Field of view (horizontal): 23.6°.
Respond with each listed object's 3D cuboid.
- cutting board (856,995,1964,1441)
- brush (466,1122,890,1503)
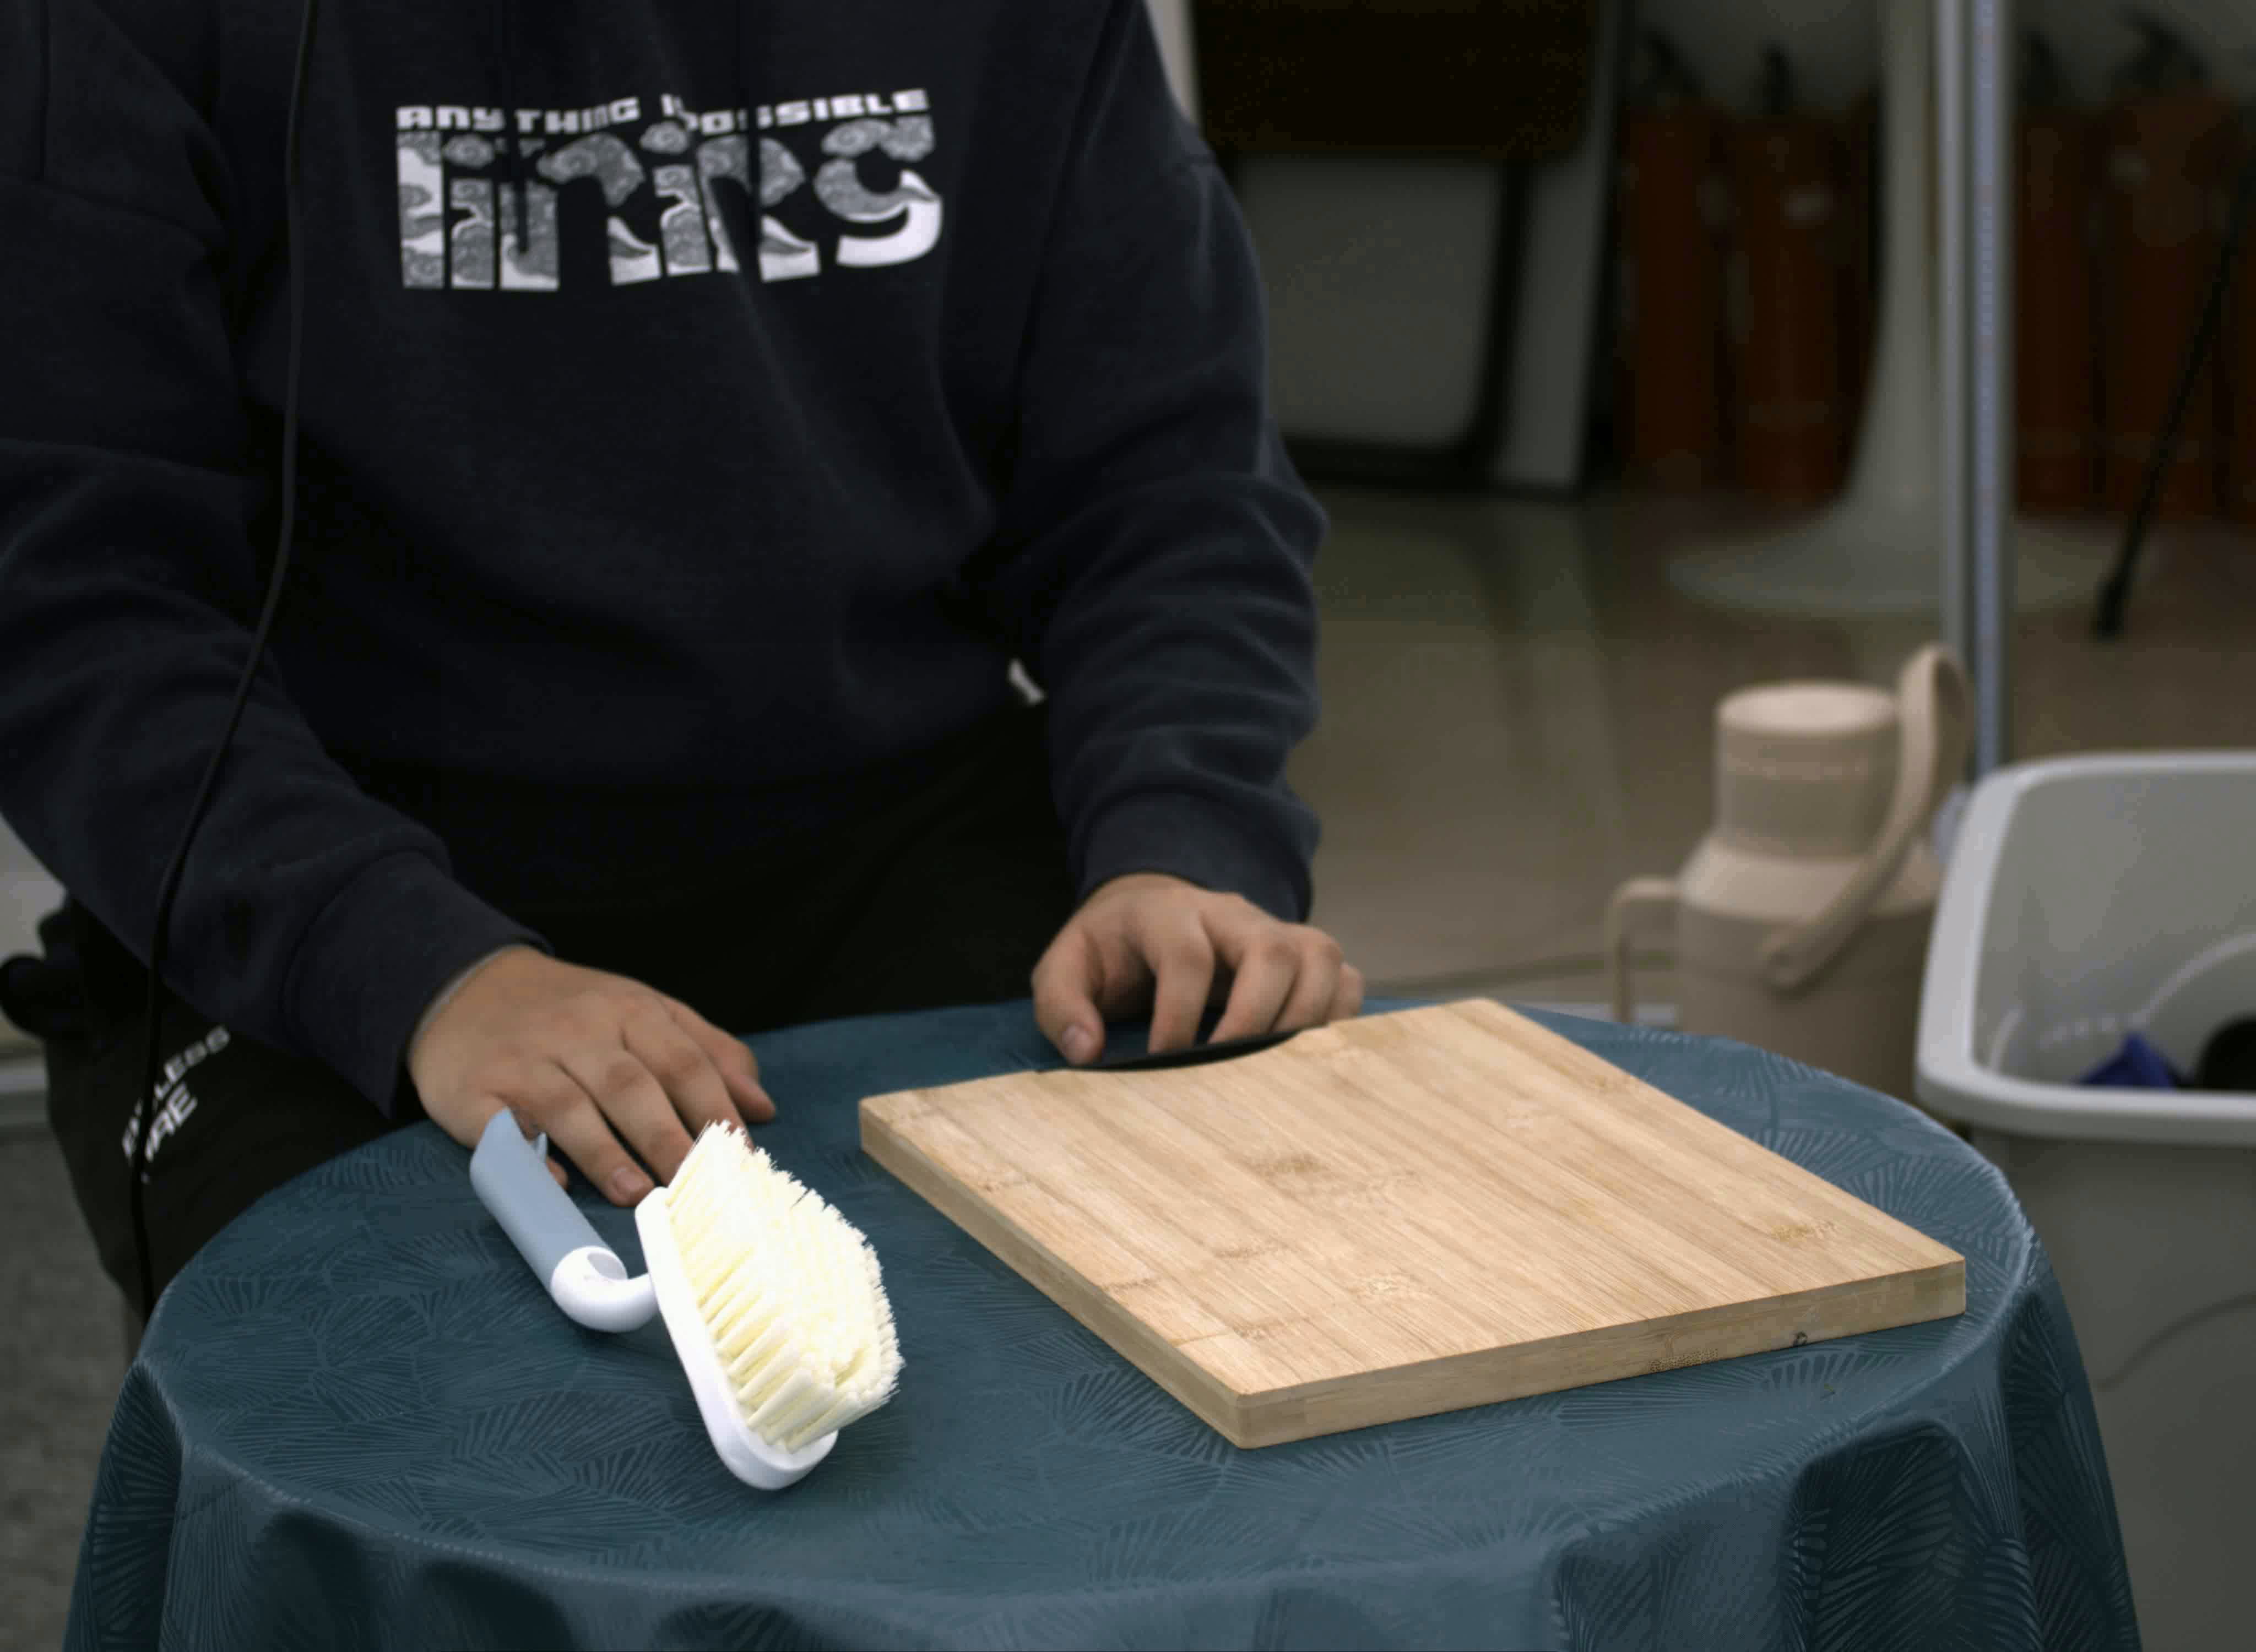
[{"bbox_3d":[0.079,0.119,1.726,0.245,0.024,0.352,-9,14,-20],"label":"cutting board"},{"bbox_3d":[-0.139,0.117,1.656,0.083,0.084,0.328,-17,18,-15],"label":"brush"}]
